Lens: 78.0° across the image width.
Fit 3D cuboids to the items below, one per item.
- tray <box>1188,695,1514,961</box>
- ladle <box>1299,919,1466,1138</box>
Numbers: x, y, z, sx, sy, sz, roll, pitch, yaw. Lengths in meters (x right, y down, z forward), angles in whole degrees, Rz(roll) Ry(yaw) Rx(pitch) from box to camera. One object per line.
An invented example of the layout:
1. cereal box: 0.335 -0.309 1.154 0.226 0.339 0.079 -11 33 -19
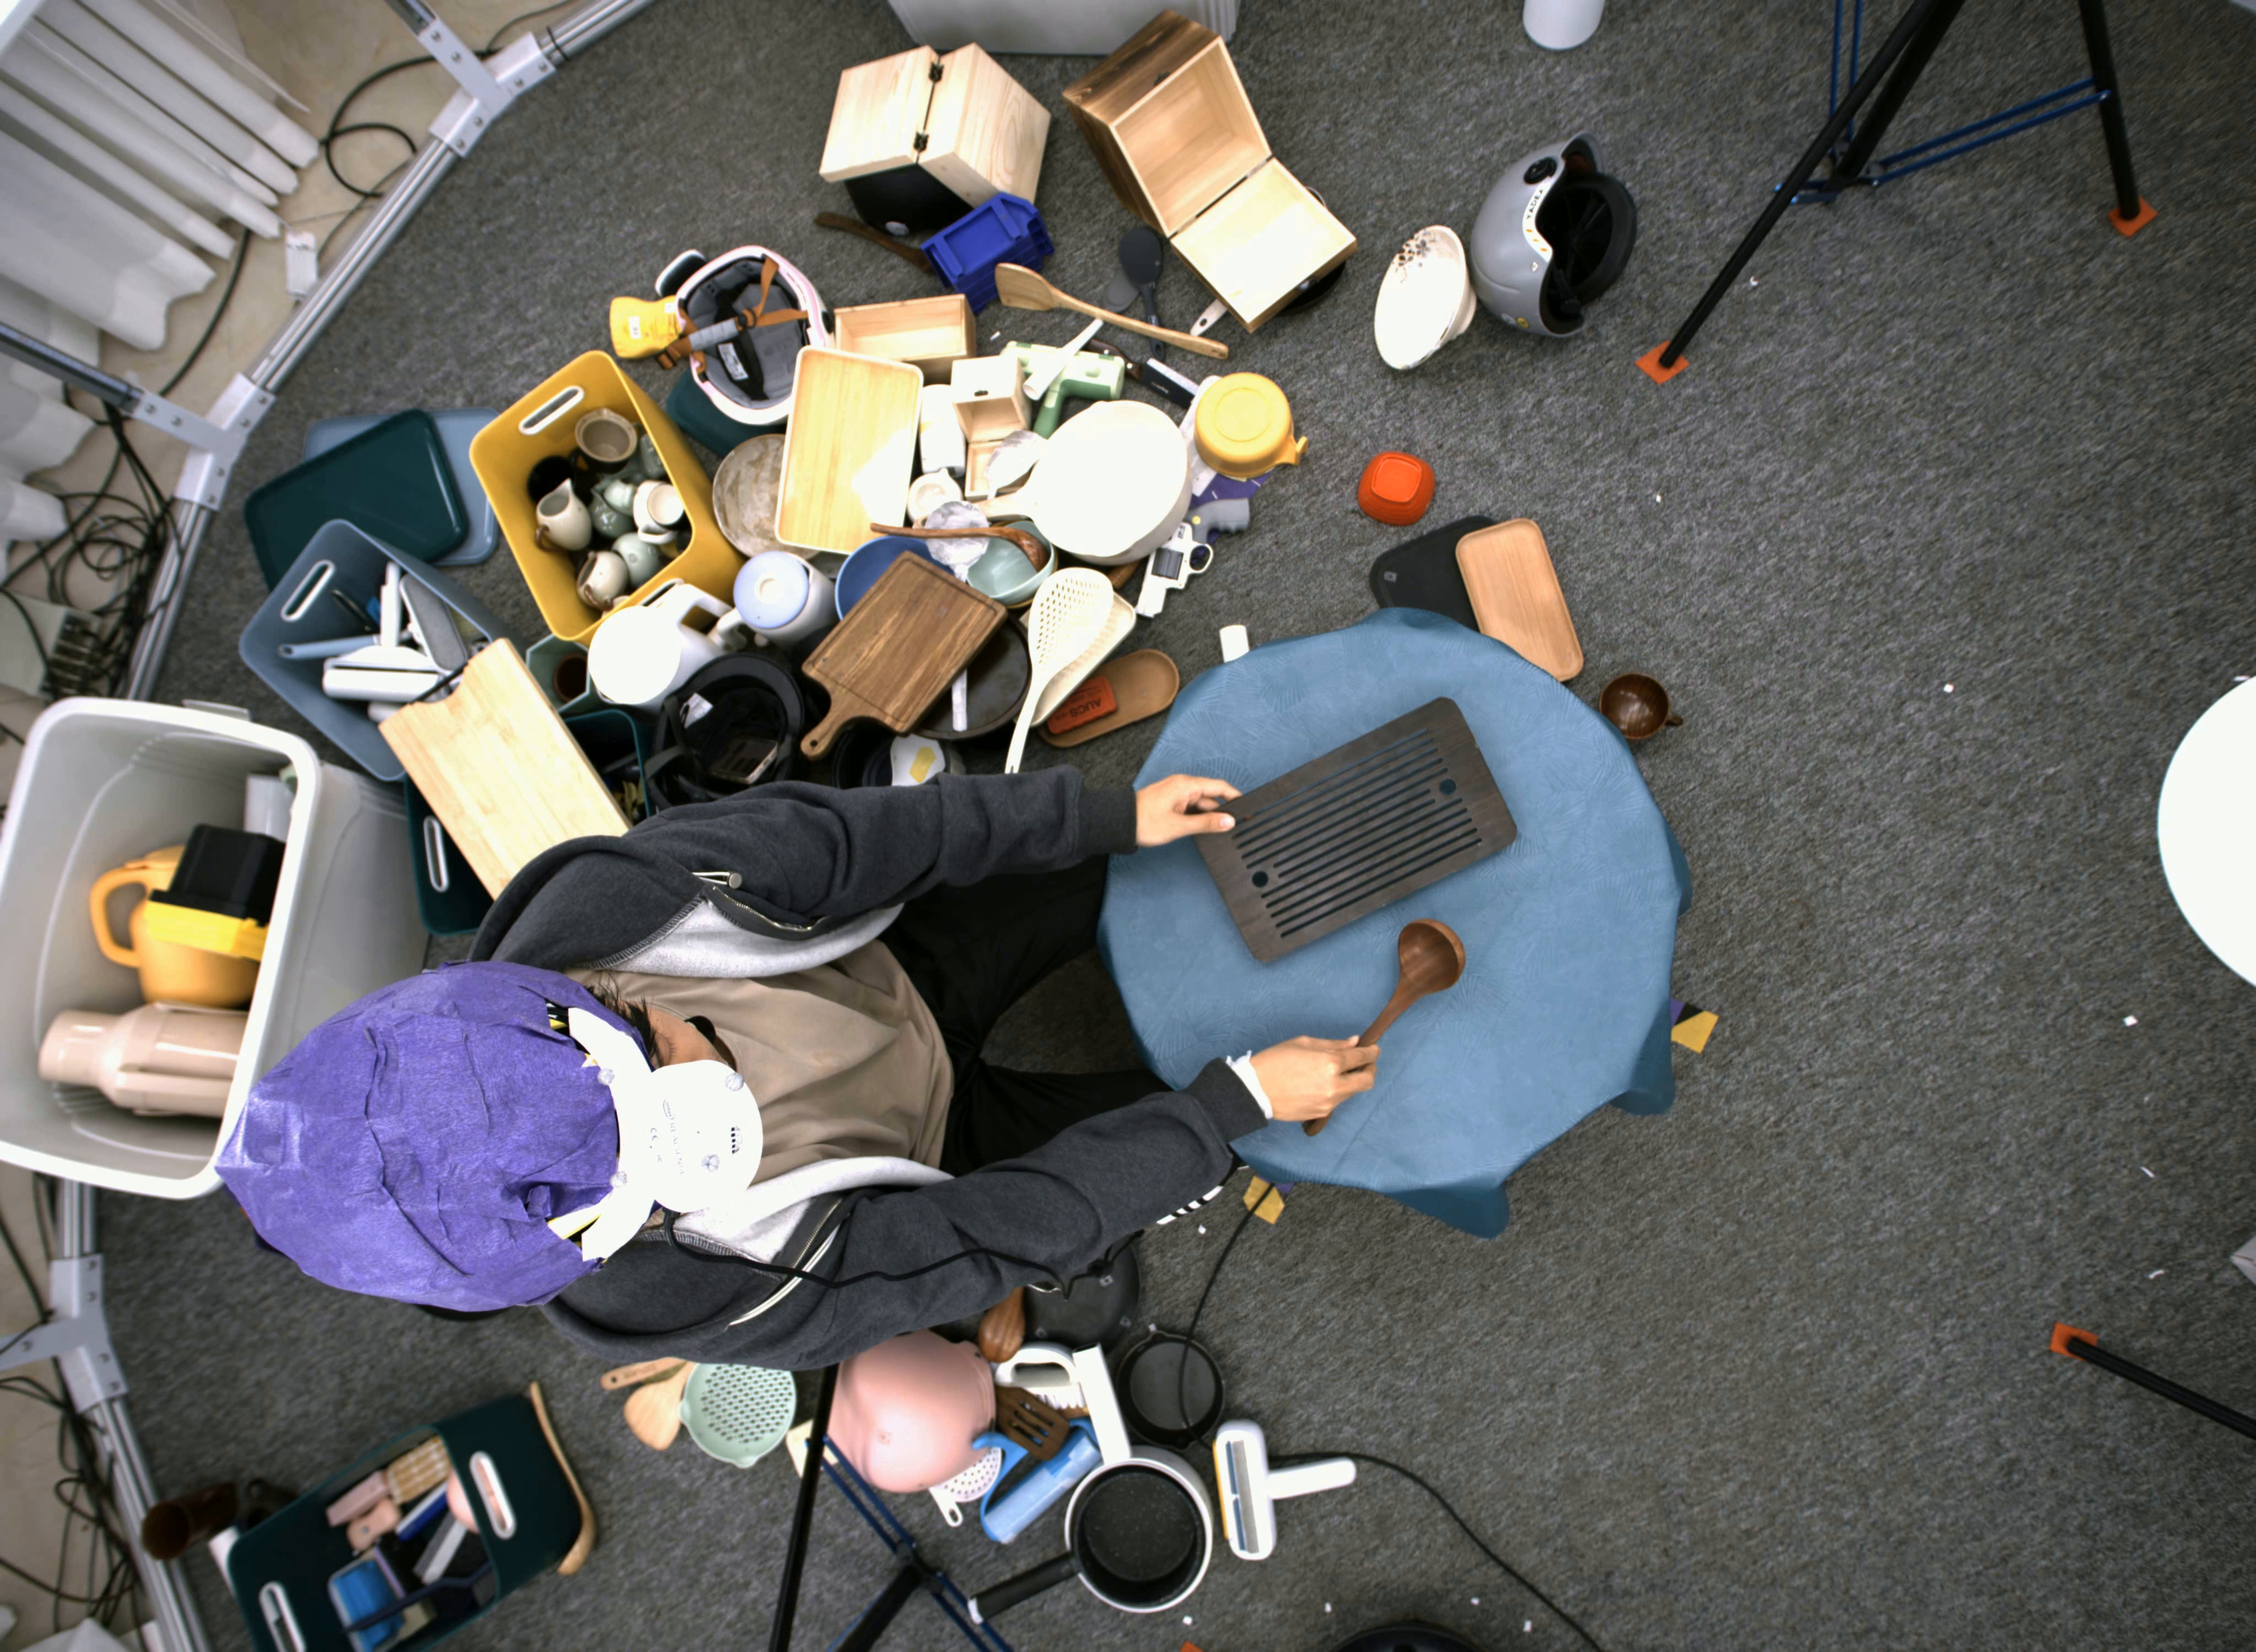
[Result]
1. tray: 0.230 0.002 1.433 0.308 0.018 0.170 -27 95 9
2. ladle: 0.246 0.205 1.391 0.075 0.065 0.262 41 99 33
